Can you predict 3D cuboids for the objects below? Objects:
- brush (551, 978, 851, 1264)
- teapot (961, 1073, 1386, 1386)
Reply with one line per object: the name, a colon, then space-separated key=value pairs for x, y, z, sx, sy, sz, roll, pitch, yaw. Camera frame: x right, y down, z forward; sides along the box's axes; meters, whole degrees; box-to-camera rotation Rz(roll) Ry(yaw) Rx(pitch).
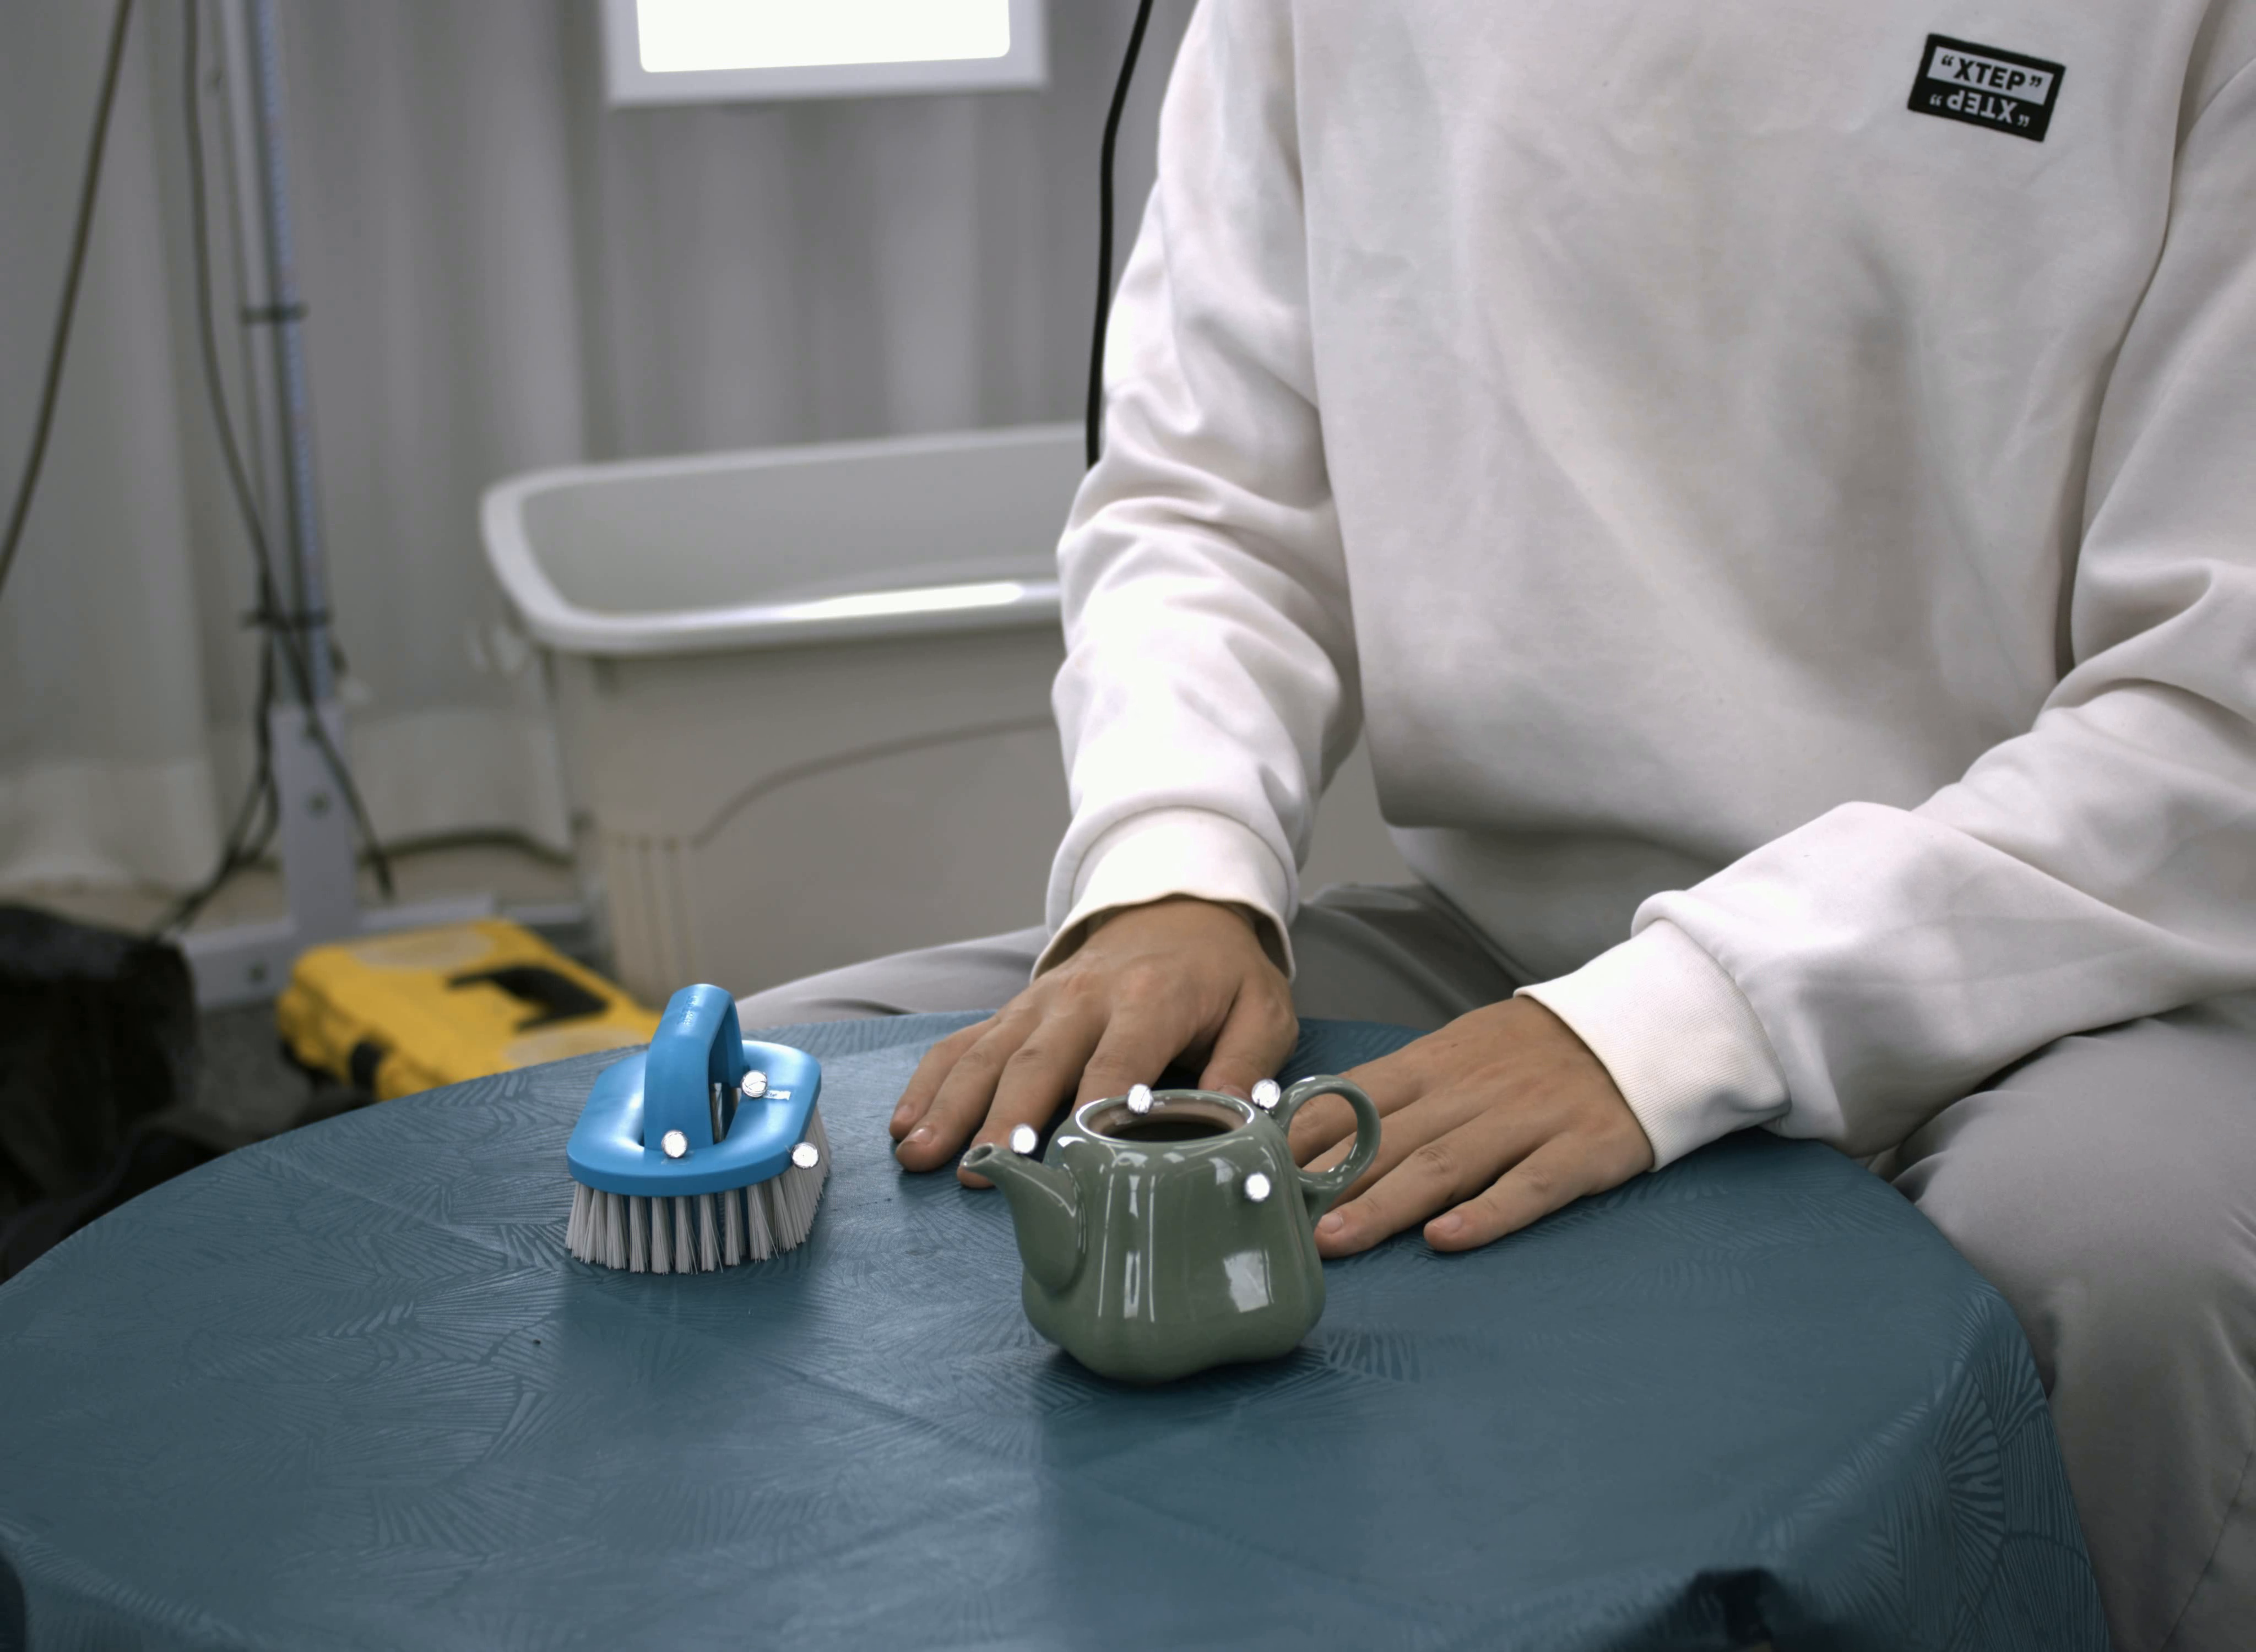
brush: x=-0.135 y=0.087 z=1.721 sx=0.084 sy=0.063 sz=0.142 roll=-6 pitch=13 yaw=6
teapot: x=0.014 y=0.115 z=1.571 sx=0.132 sy=0.075 sz=0.080 roll=-9 pitch=16 yaw=-24
